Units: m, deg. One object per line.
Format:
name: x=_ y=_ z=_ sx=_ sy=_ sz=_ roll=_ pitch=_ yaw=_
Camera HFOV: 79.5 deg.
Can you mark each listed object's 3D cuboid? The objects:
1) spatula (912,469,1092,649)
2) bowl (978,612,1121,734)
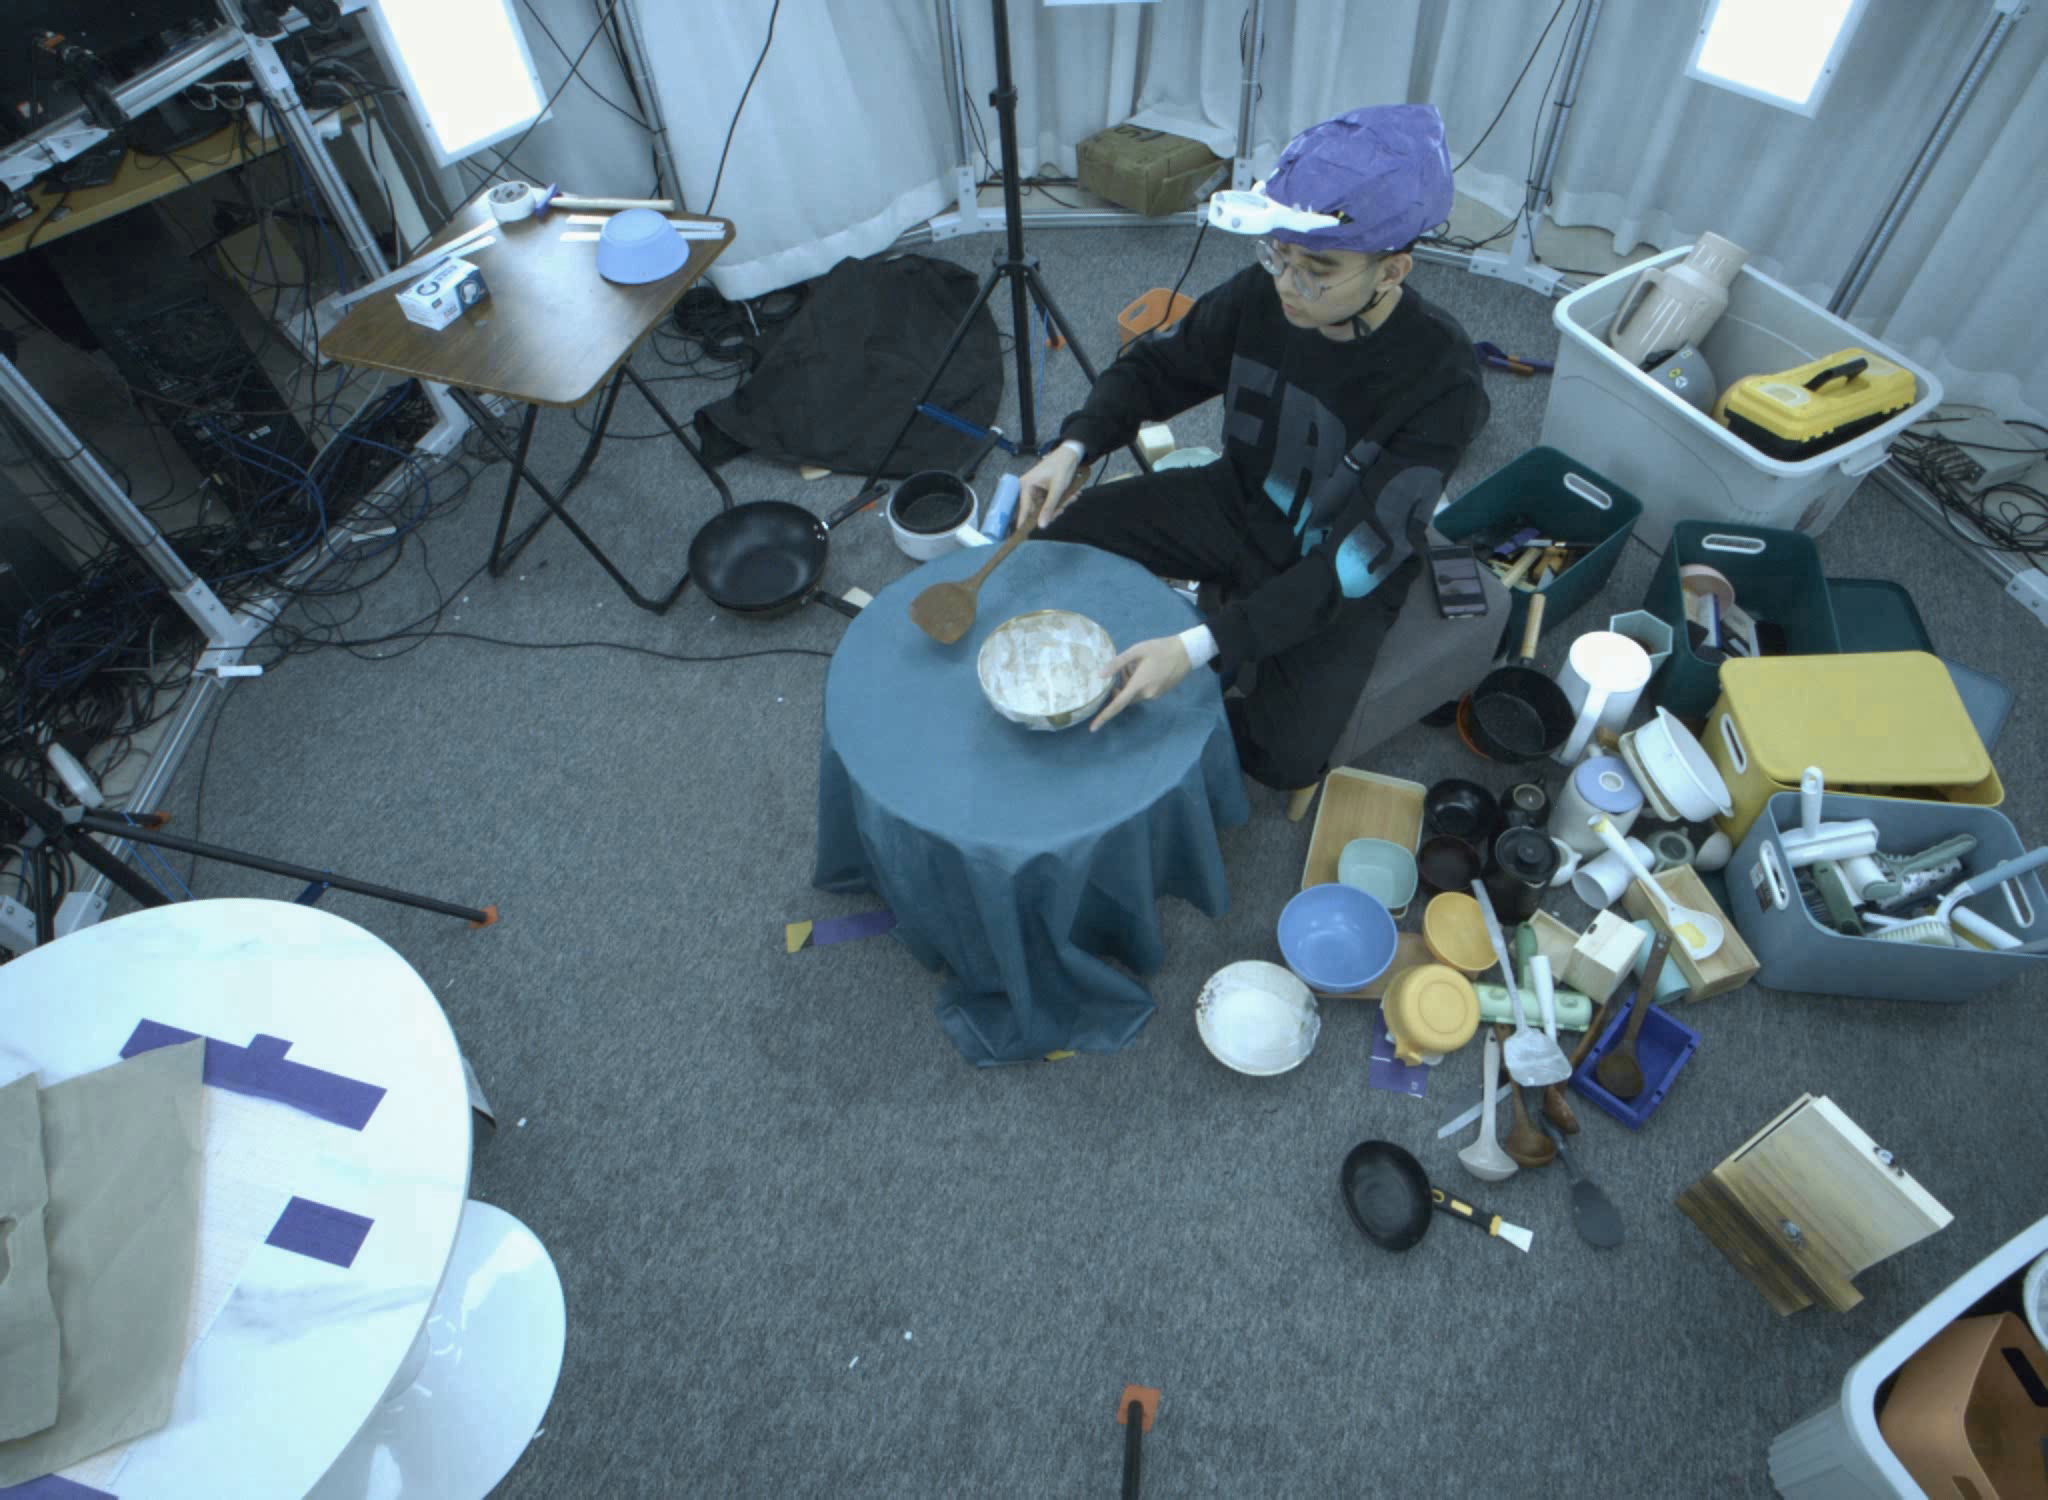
spatula: x=-0.022 y=-0.311 z=1.916 sx=0.096 sy=0.016 sz=0.387 roll=41 pitch=77 yaw=3
bowl: x=0.041 y=-0.098 z=1.808 sx=0.214 sy=0.095 sz=0.212 roll=-1 pitch=53 yaw=2
